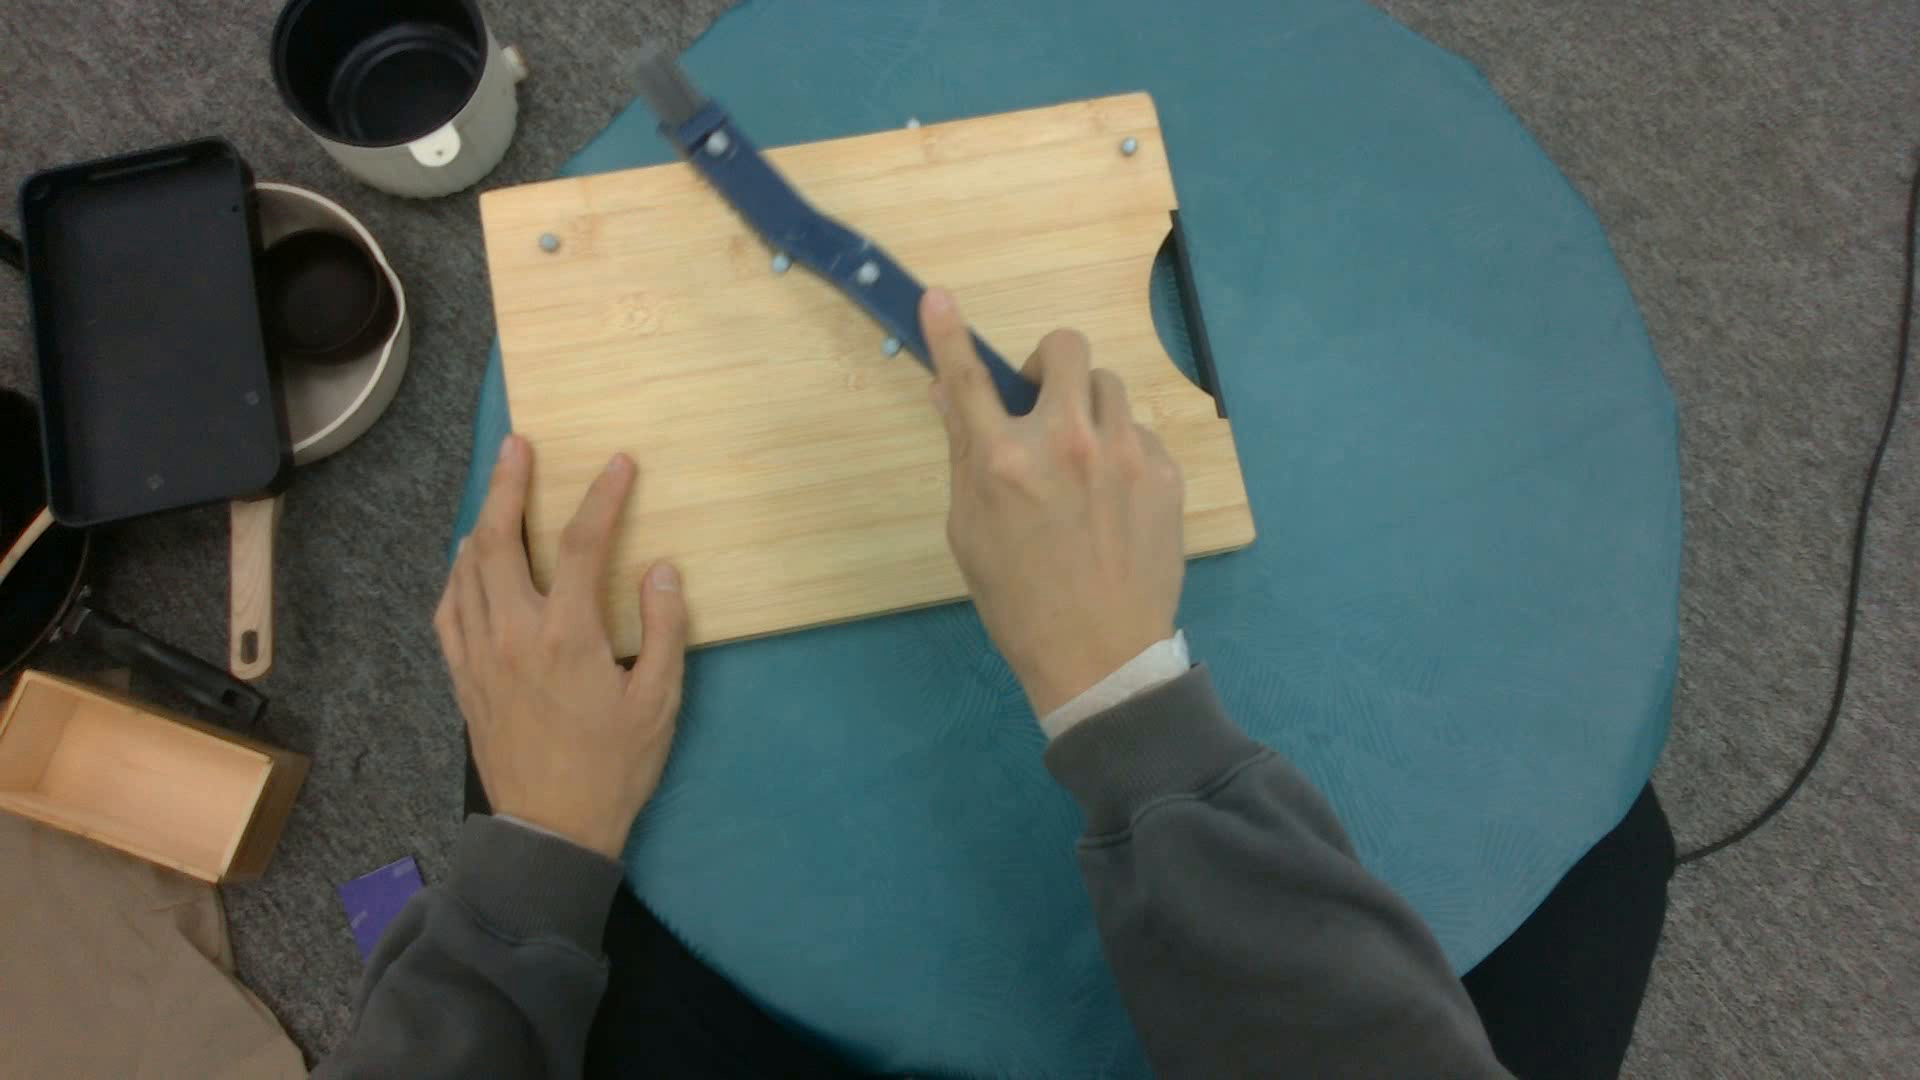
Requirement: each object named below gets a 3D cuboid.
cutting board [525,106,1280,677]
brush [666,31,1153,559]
[{"bbox_3d":[-0.035,-0.080,0.693,0.349,0.023,0.251,-11,79,-4],"label":"cutting board"},{"bbox_3d":[-0.025,-0.102,0.578,0.033,0.095,0.273,-42,72,-18],"label":"brush"}]
